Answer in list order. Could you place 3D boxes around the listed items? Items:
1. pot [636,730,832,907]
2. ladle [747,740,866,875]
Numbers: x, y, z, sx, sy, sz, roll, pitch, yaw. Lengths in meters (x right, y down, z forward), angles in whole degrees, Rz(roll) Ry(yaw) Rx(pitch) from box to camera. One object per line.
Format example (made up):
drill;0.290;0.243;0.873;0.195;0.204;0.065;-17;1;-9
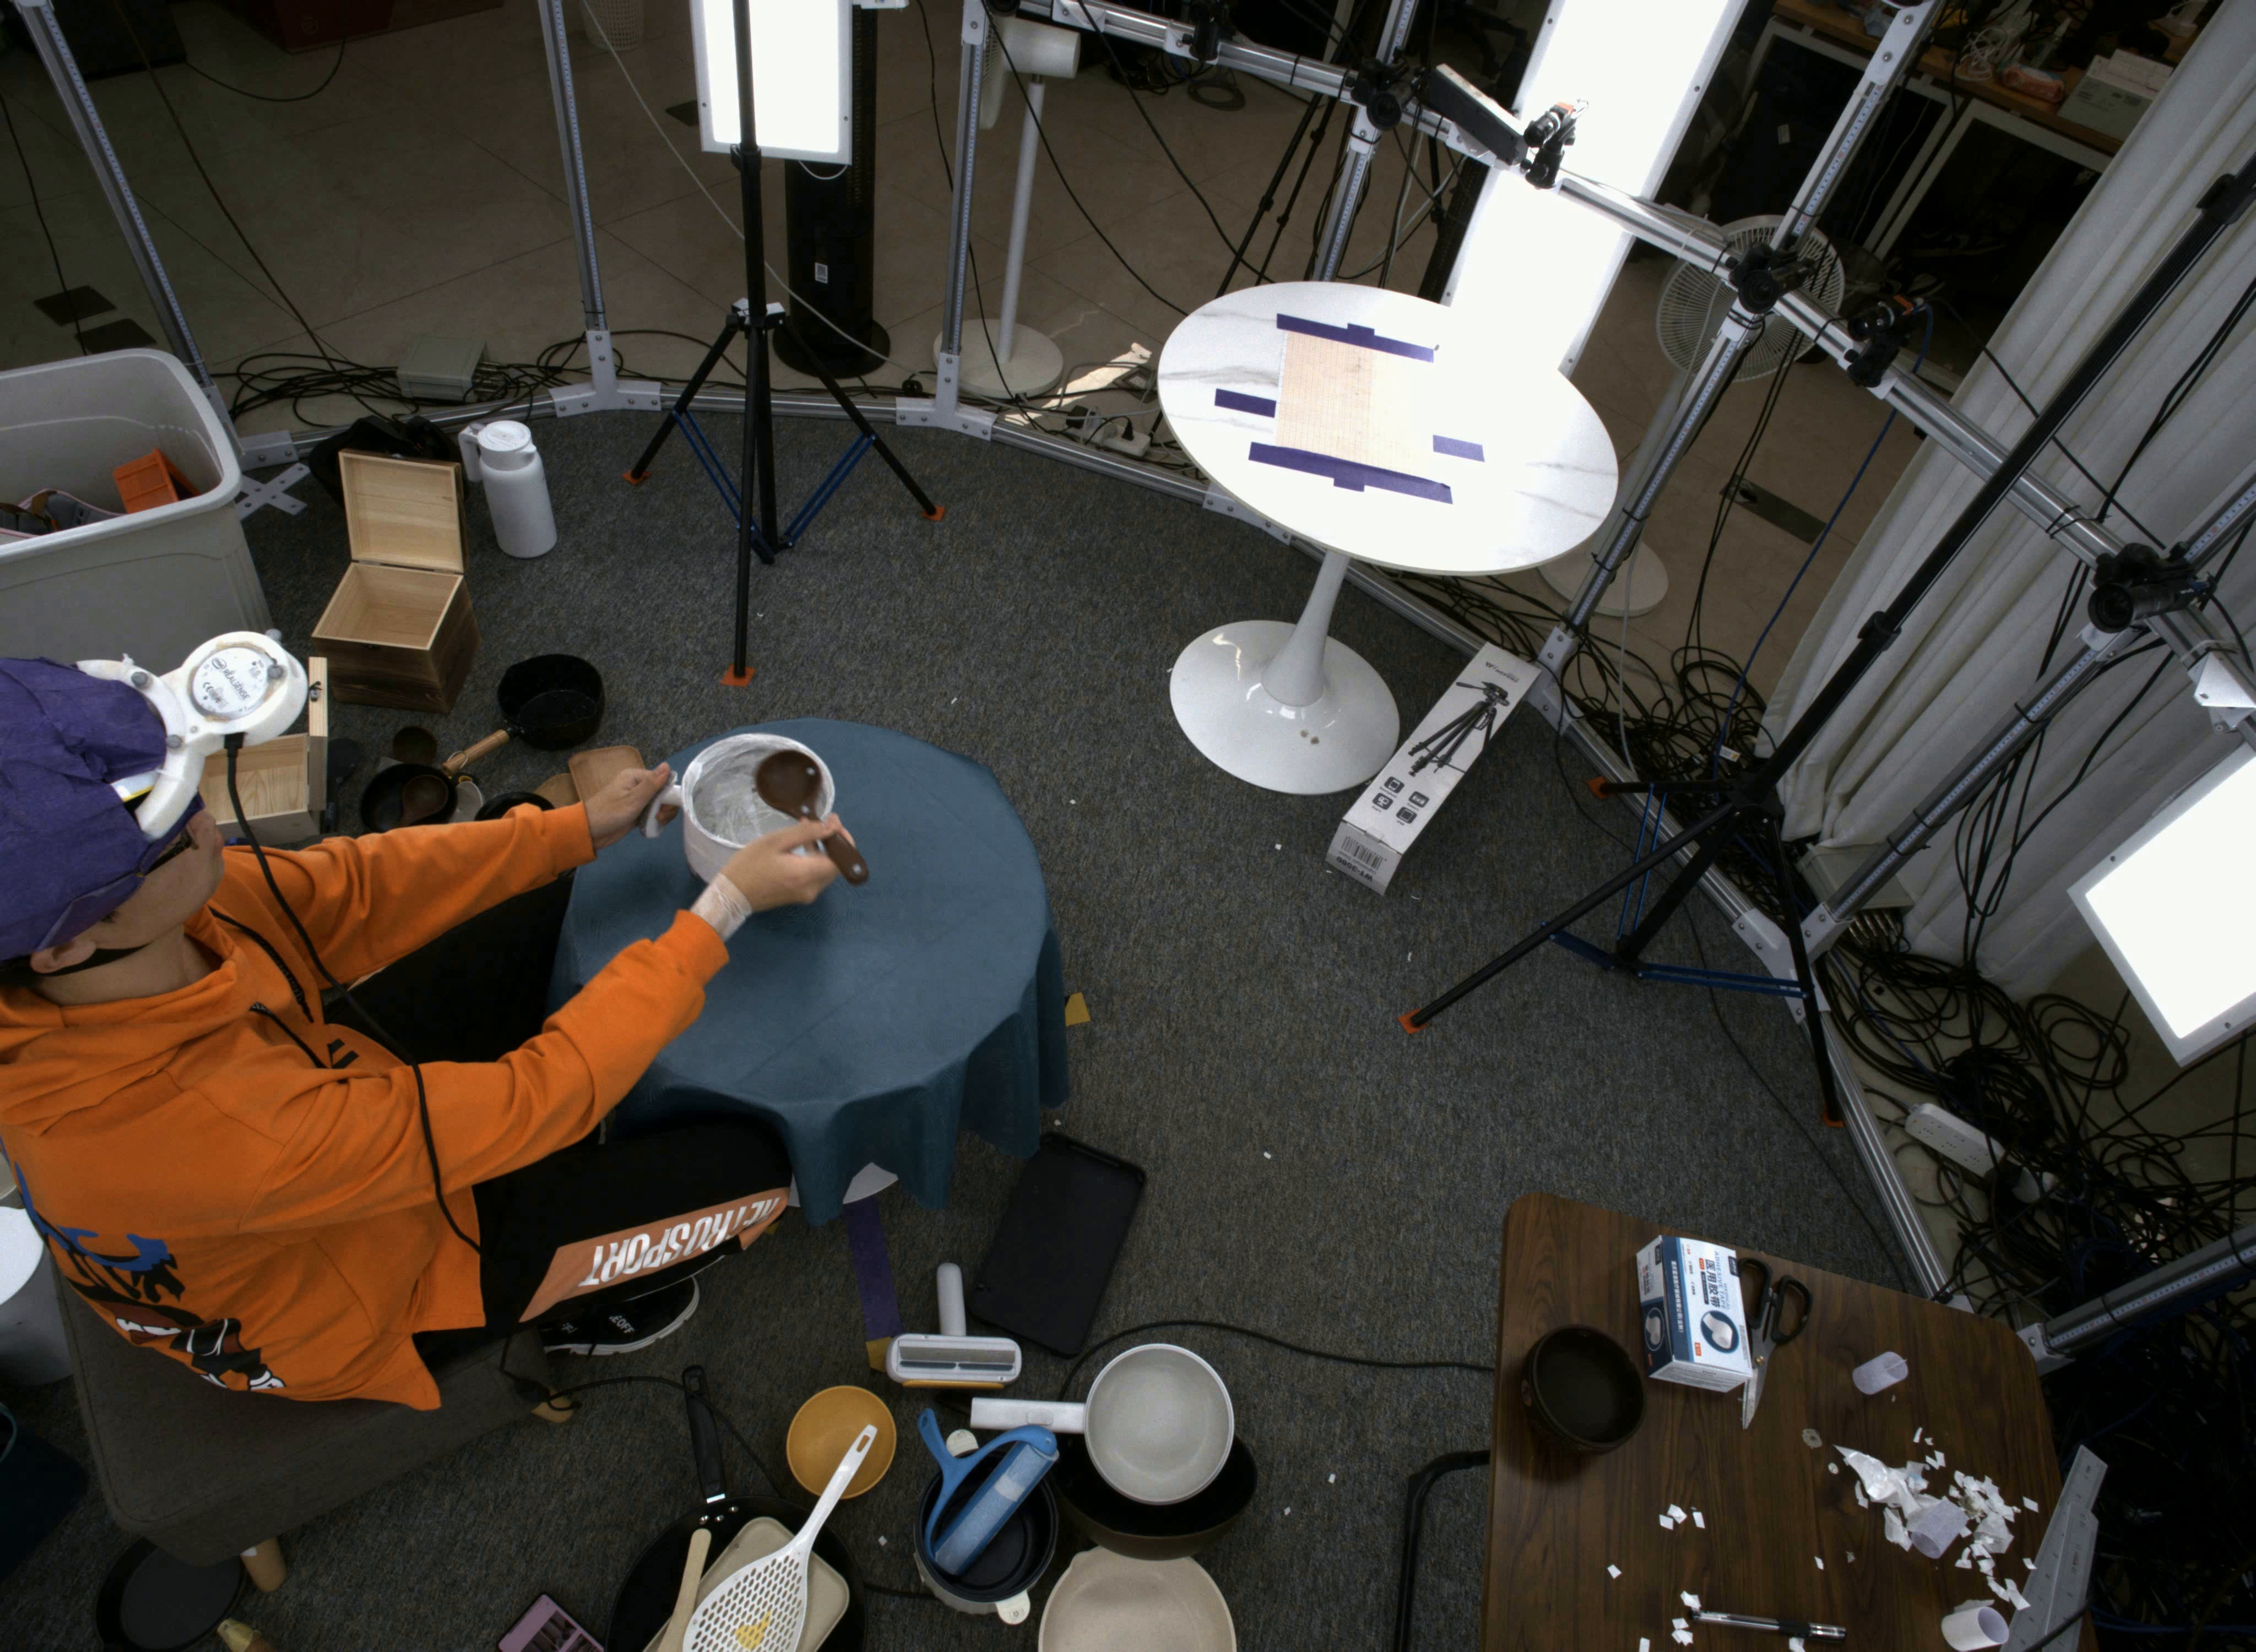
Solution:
pot;-0.473;-0.010;1.545;0.234;0.139;0.175;8;51;-12
ladle;-0.338;-0.024;1.373;0.076;0.067;0.250;-30;34;-19
